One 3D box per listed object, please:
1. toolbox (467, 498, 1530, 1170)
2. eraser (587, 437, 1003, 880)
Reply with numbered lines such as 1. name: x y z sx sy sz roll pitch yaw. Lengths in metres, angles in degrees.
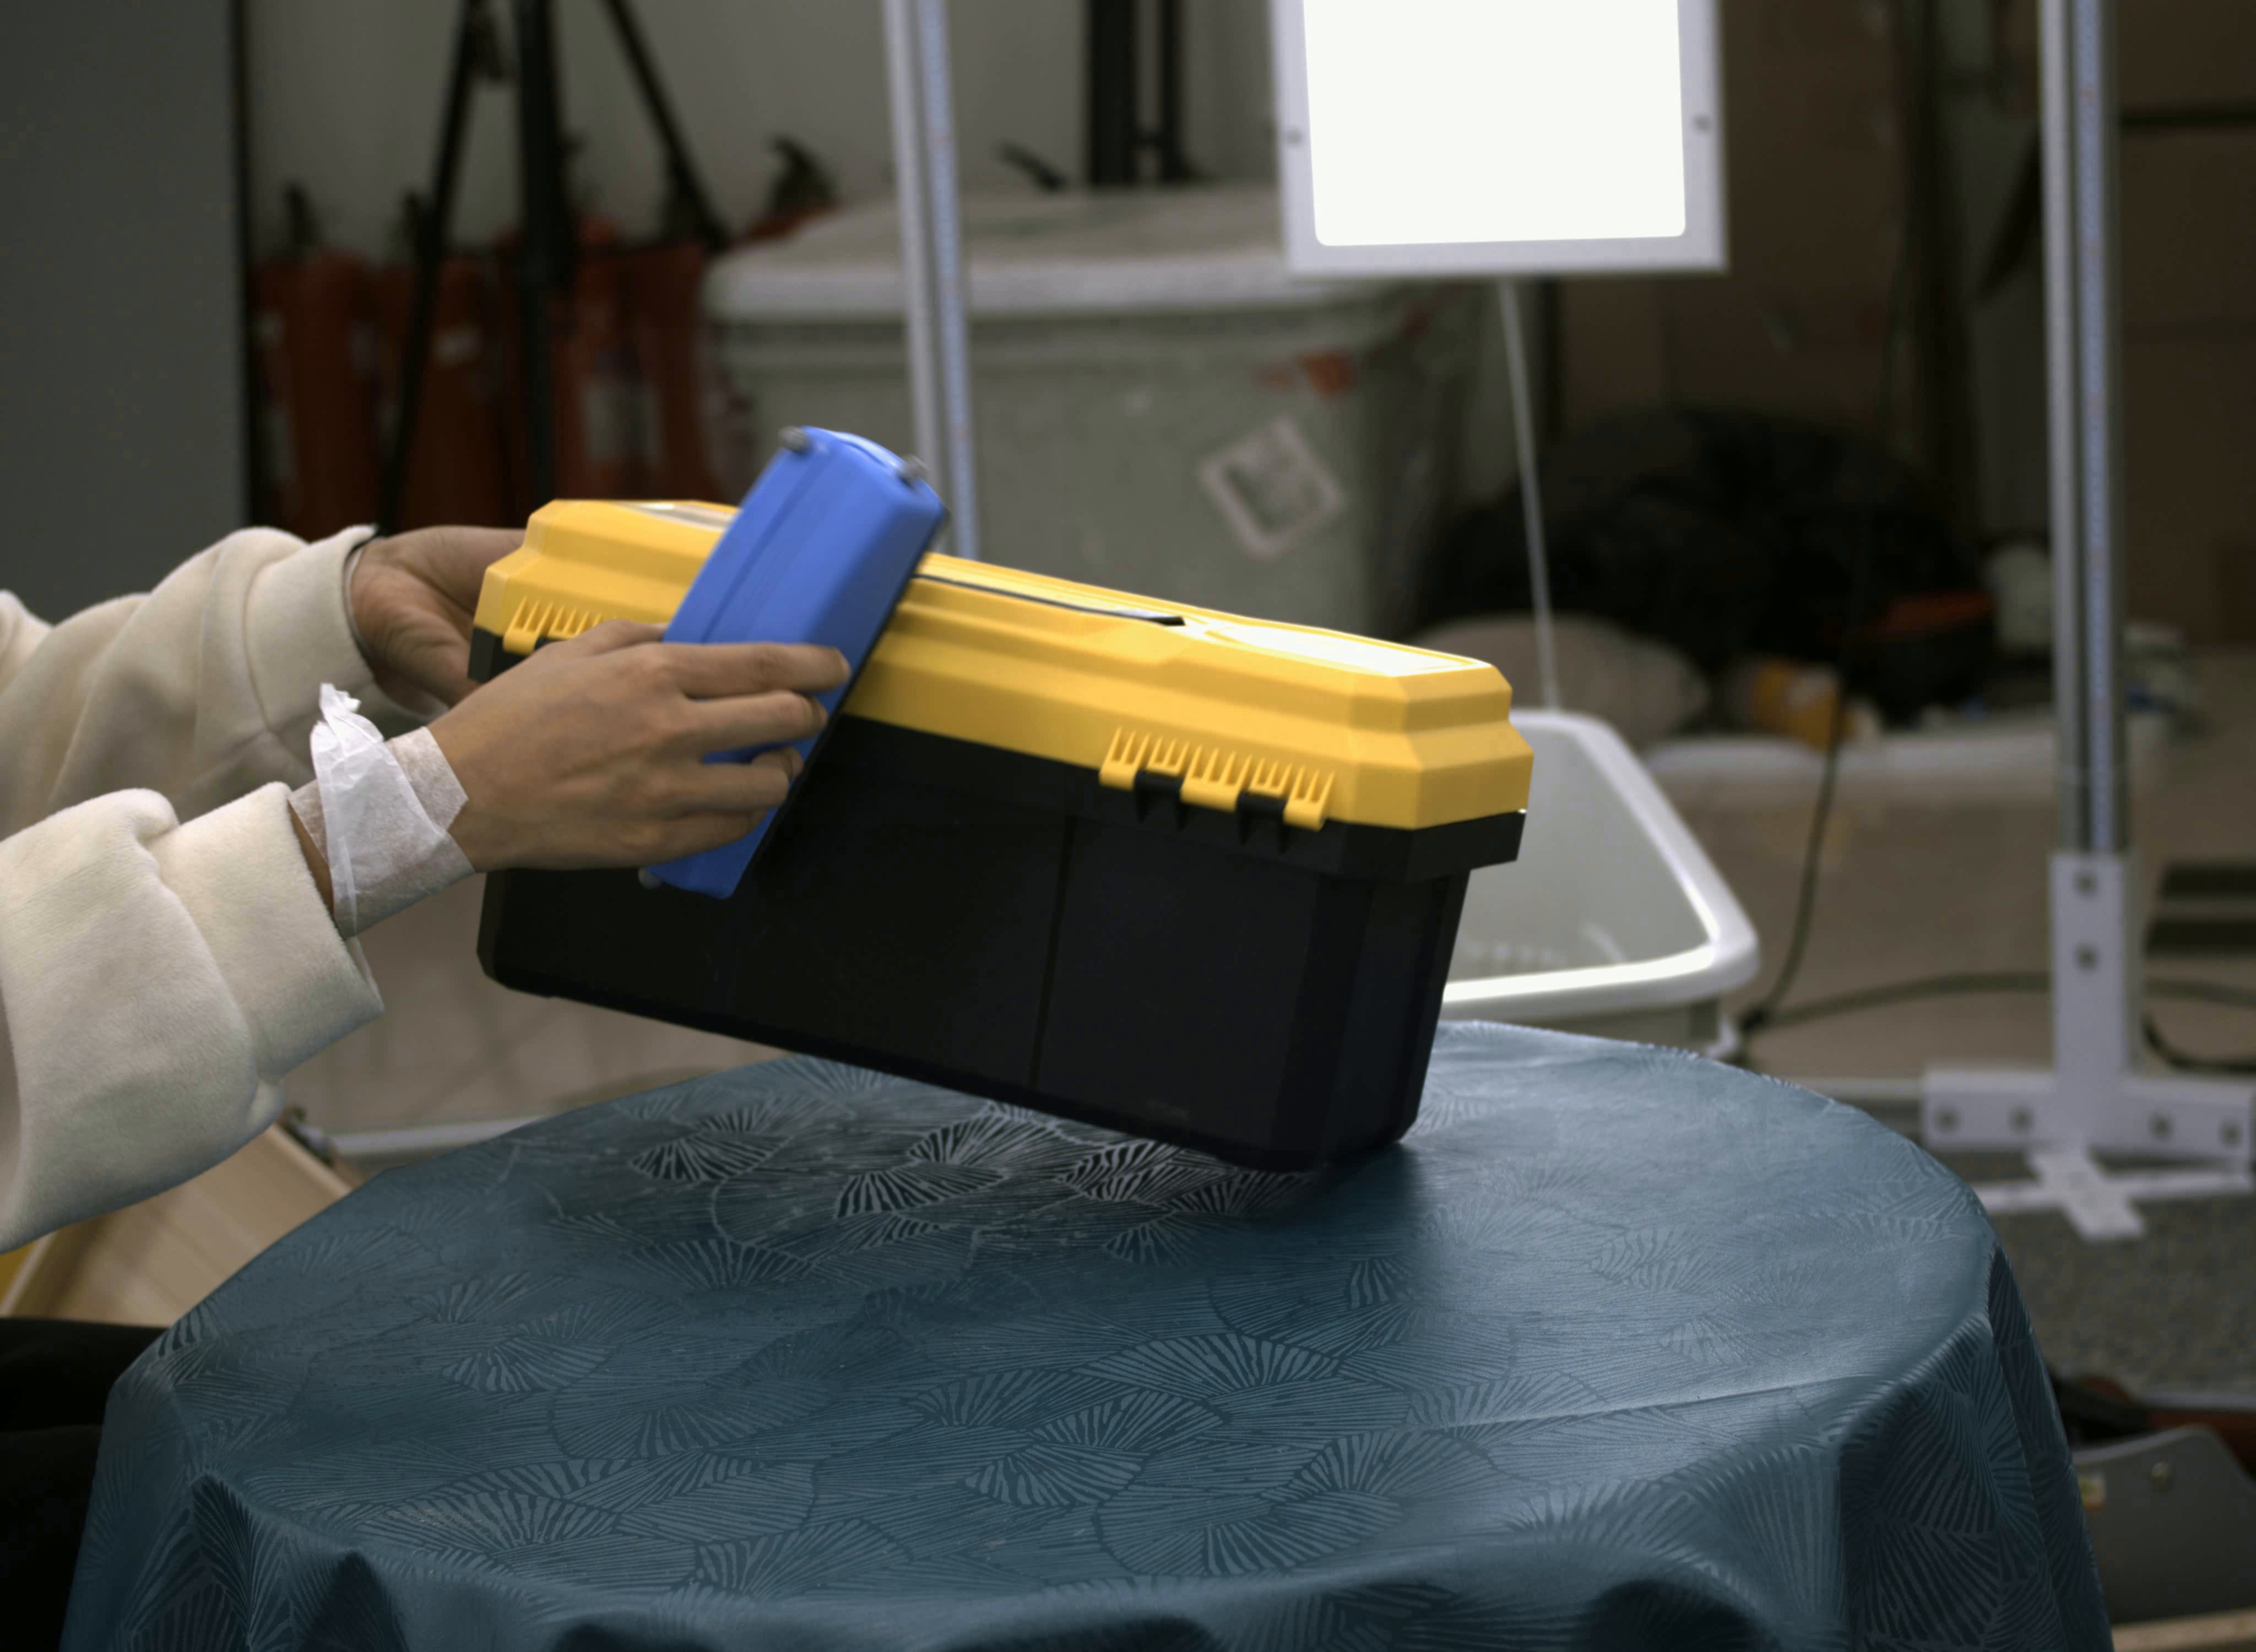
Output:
1. toolbox: -0.050 -0.002 1.926 0.356 0.173 0.178 12 8 22
2. eraser: -0.114 -0.056 1.832 0.054 0.163 0.047 47 13 22
